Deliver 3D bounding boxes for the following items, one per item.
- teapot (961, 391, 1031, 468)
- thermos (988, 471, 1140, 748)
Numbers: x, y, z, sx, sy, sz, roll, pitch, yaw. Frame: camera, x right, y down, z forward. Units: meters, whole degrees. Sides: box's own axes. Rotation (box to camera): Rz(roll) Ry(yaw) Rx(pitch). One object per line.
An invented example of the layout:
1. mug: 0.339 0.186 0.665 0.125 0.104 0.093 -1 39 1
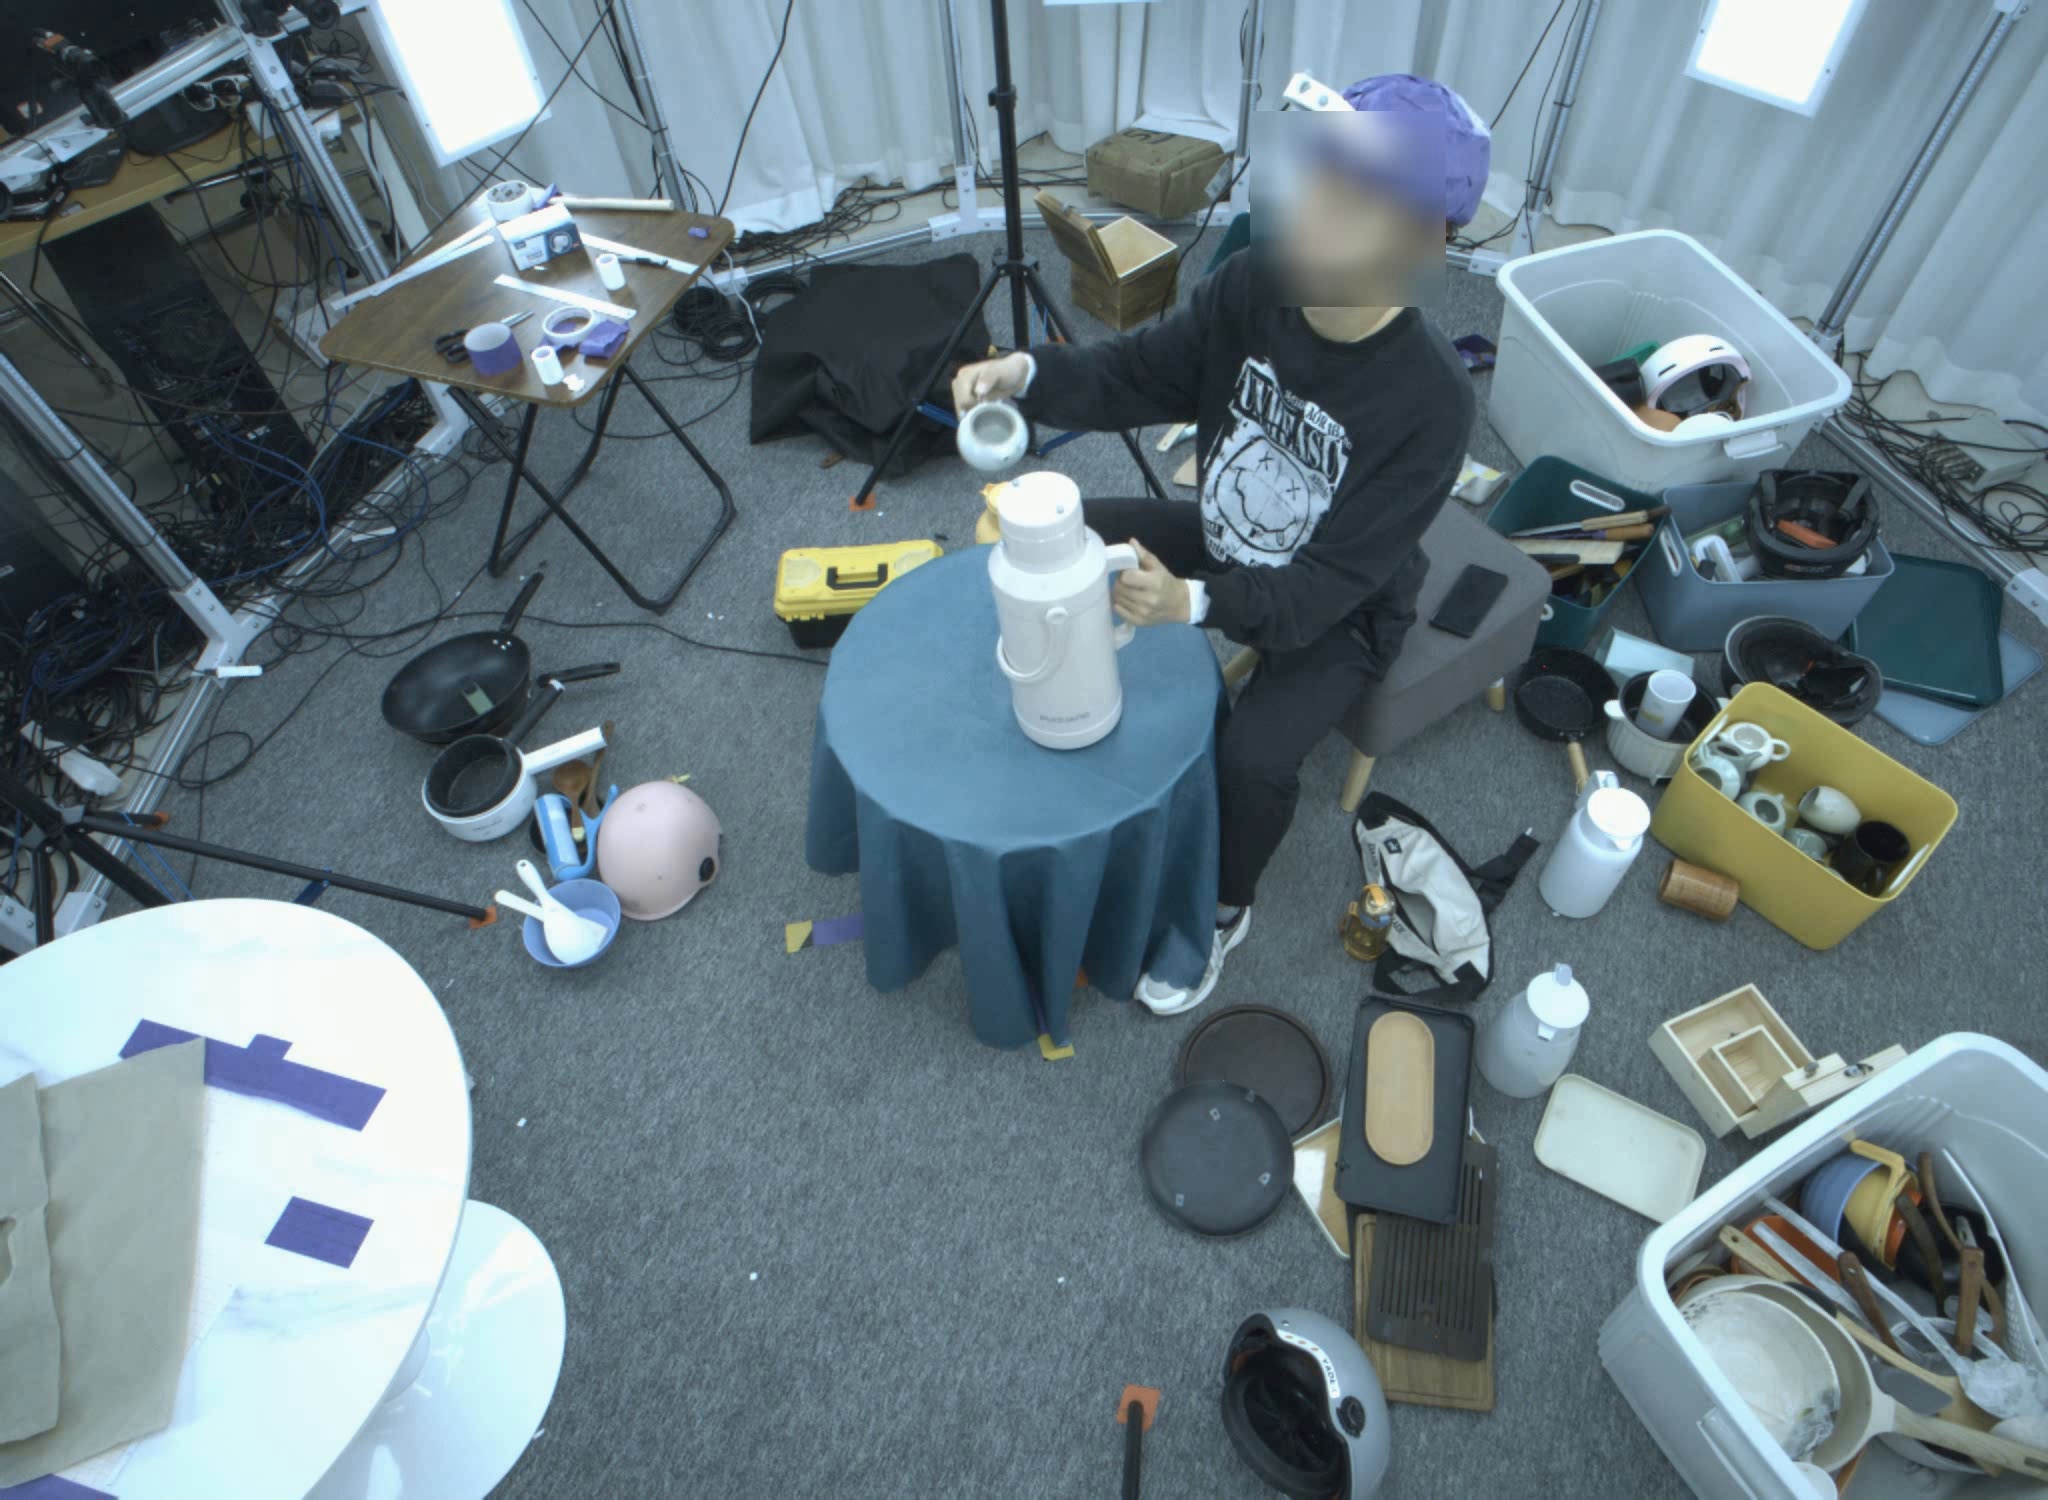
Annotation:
1. teapot: -0.042 -0.416 1.568 0.092 0.060 0.127 -23 76 -9
2. thermos: 0.057 -0.188 1.663 0.207 0.412 0.172 -12 50 0
